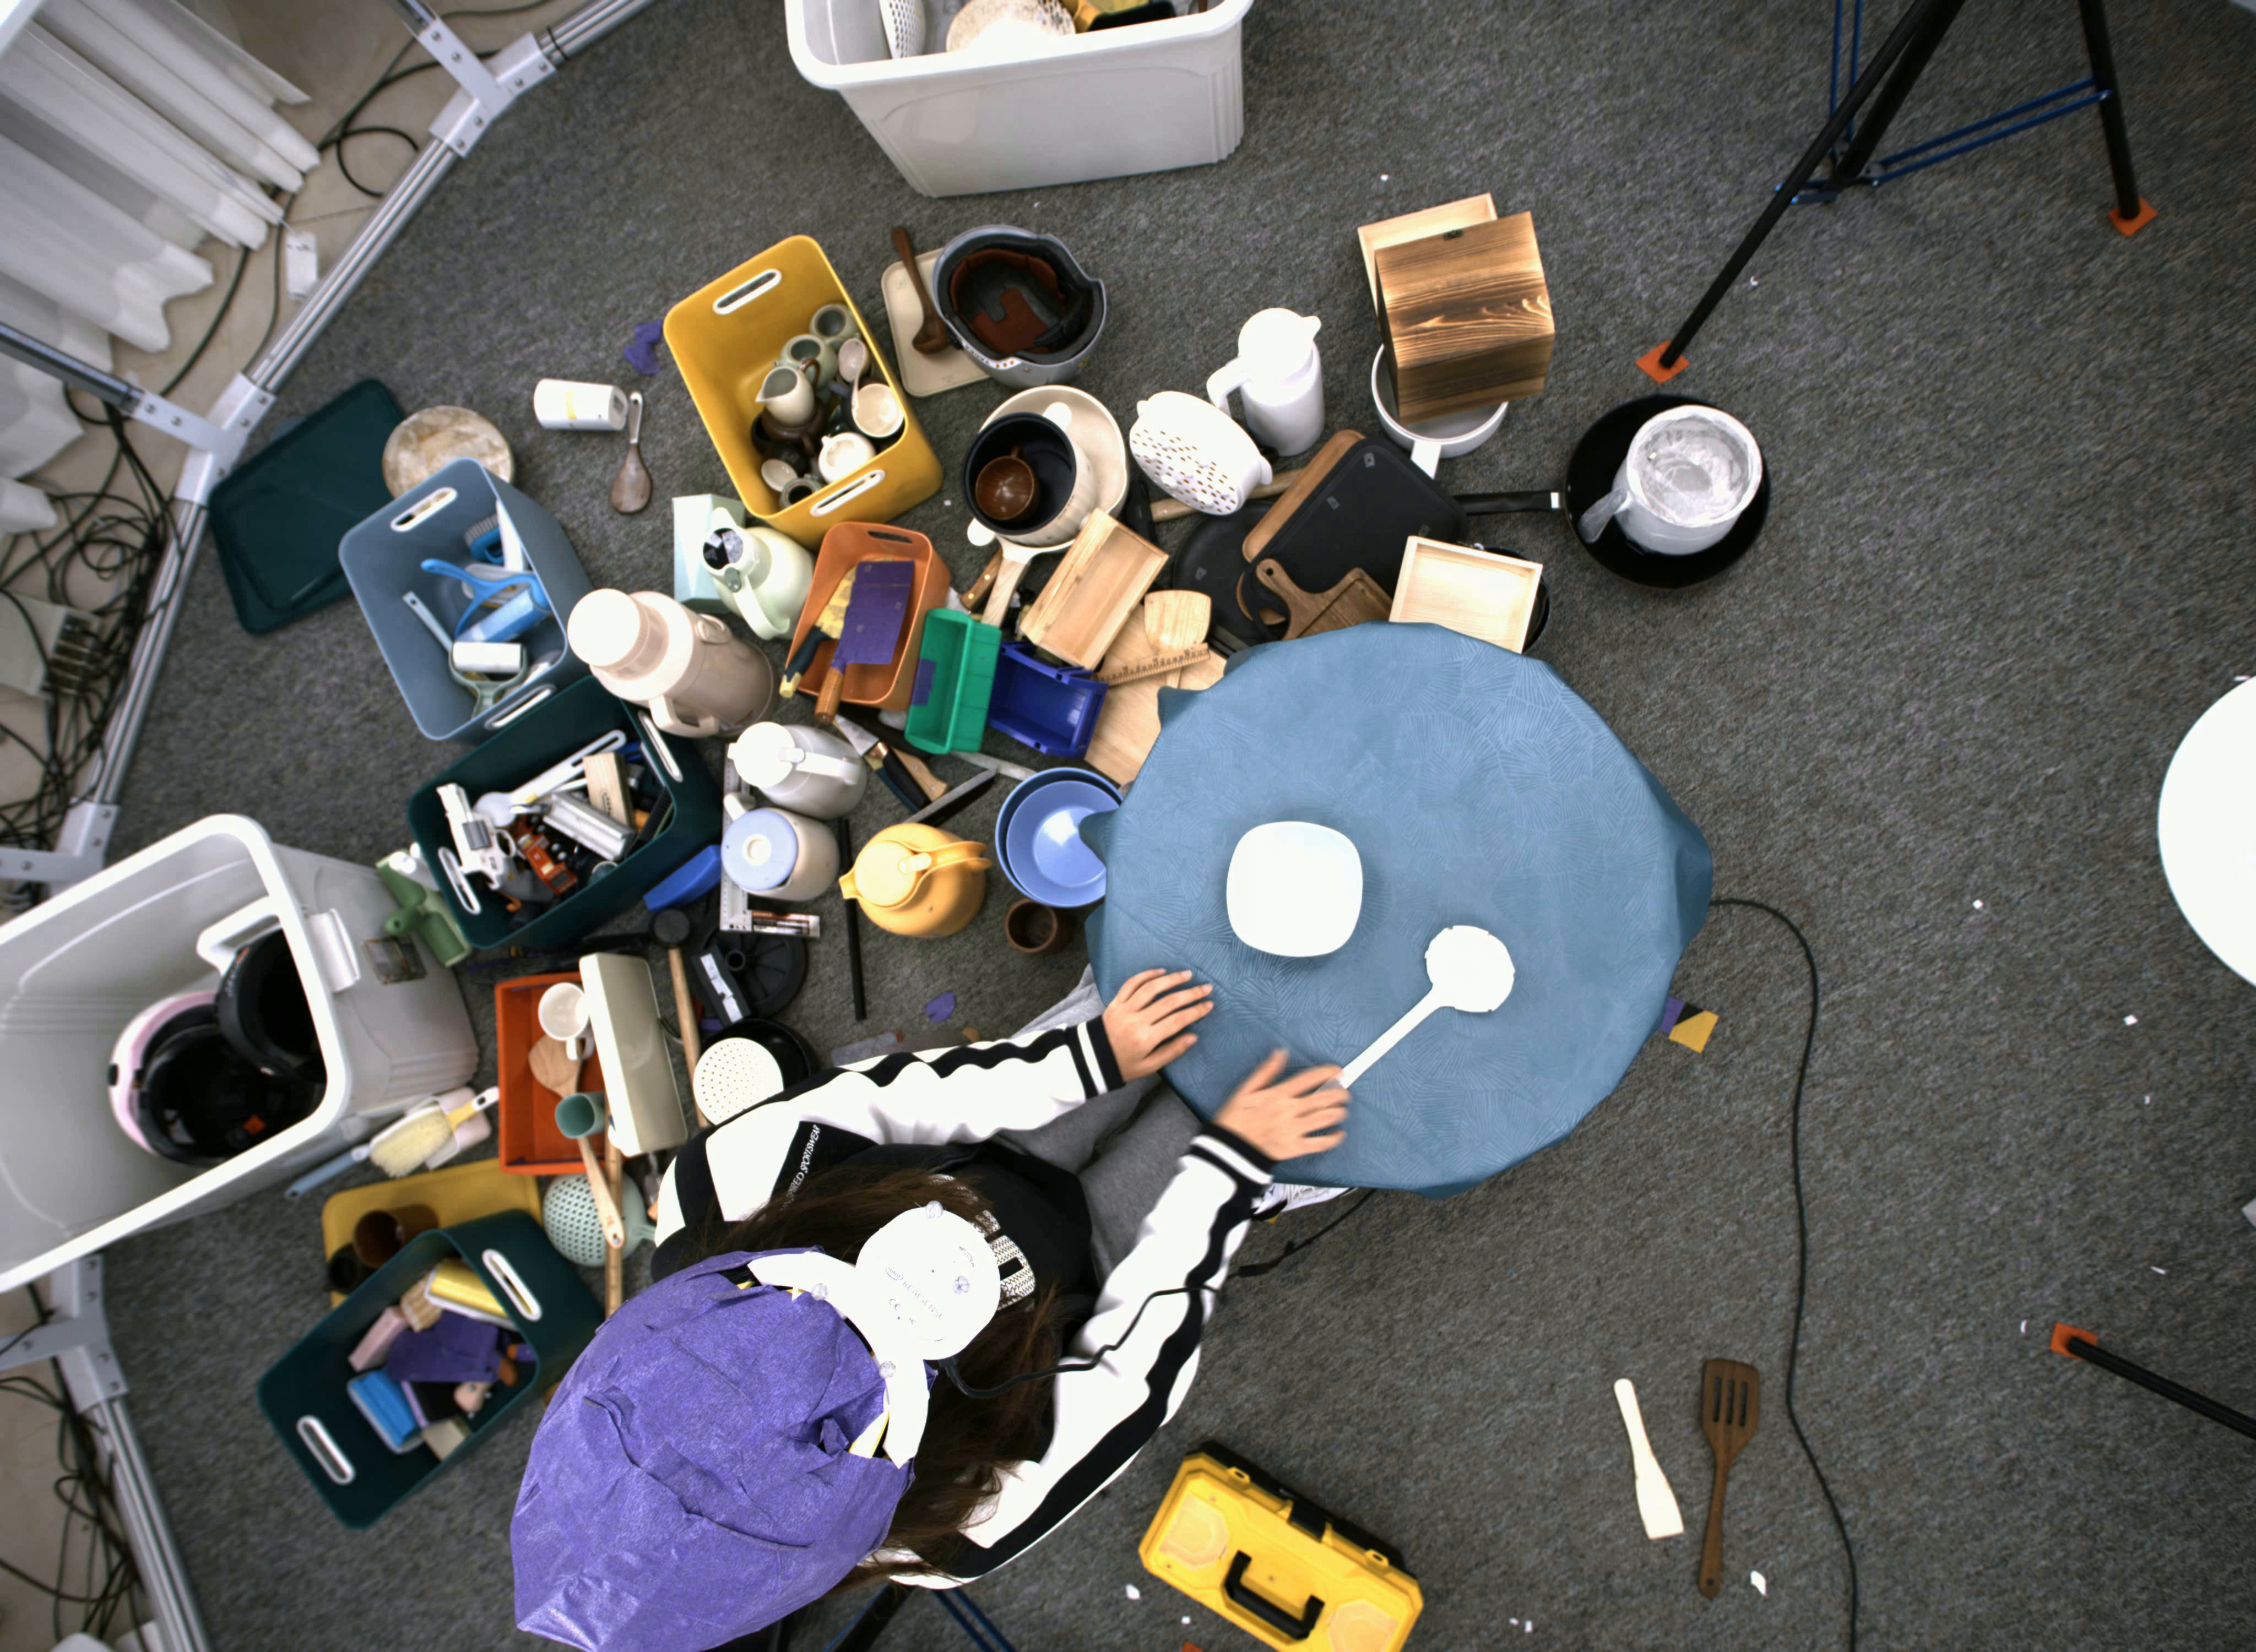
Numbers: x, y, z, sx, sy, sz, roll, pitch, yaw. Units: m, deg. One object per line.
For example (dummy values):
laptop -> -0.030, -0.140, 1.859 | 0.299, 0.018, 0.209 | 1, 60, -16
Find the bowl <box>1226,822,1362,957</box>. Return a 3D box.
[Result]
bowl -> 0.175, 0.067, 1.451 | 0.152, 0.058, 0.151 | -1, 86, 10

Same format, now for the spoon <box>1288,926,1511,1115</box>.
spoon -> 0.269, 0.205, 1.424 | 0.279, 0.059, 0.100 | -39, 75, 6
